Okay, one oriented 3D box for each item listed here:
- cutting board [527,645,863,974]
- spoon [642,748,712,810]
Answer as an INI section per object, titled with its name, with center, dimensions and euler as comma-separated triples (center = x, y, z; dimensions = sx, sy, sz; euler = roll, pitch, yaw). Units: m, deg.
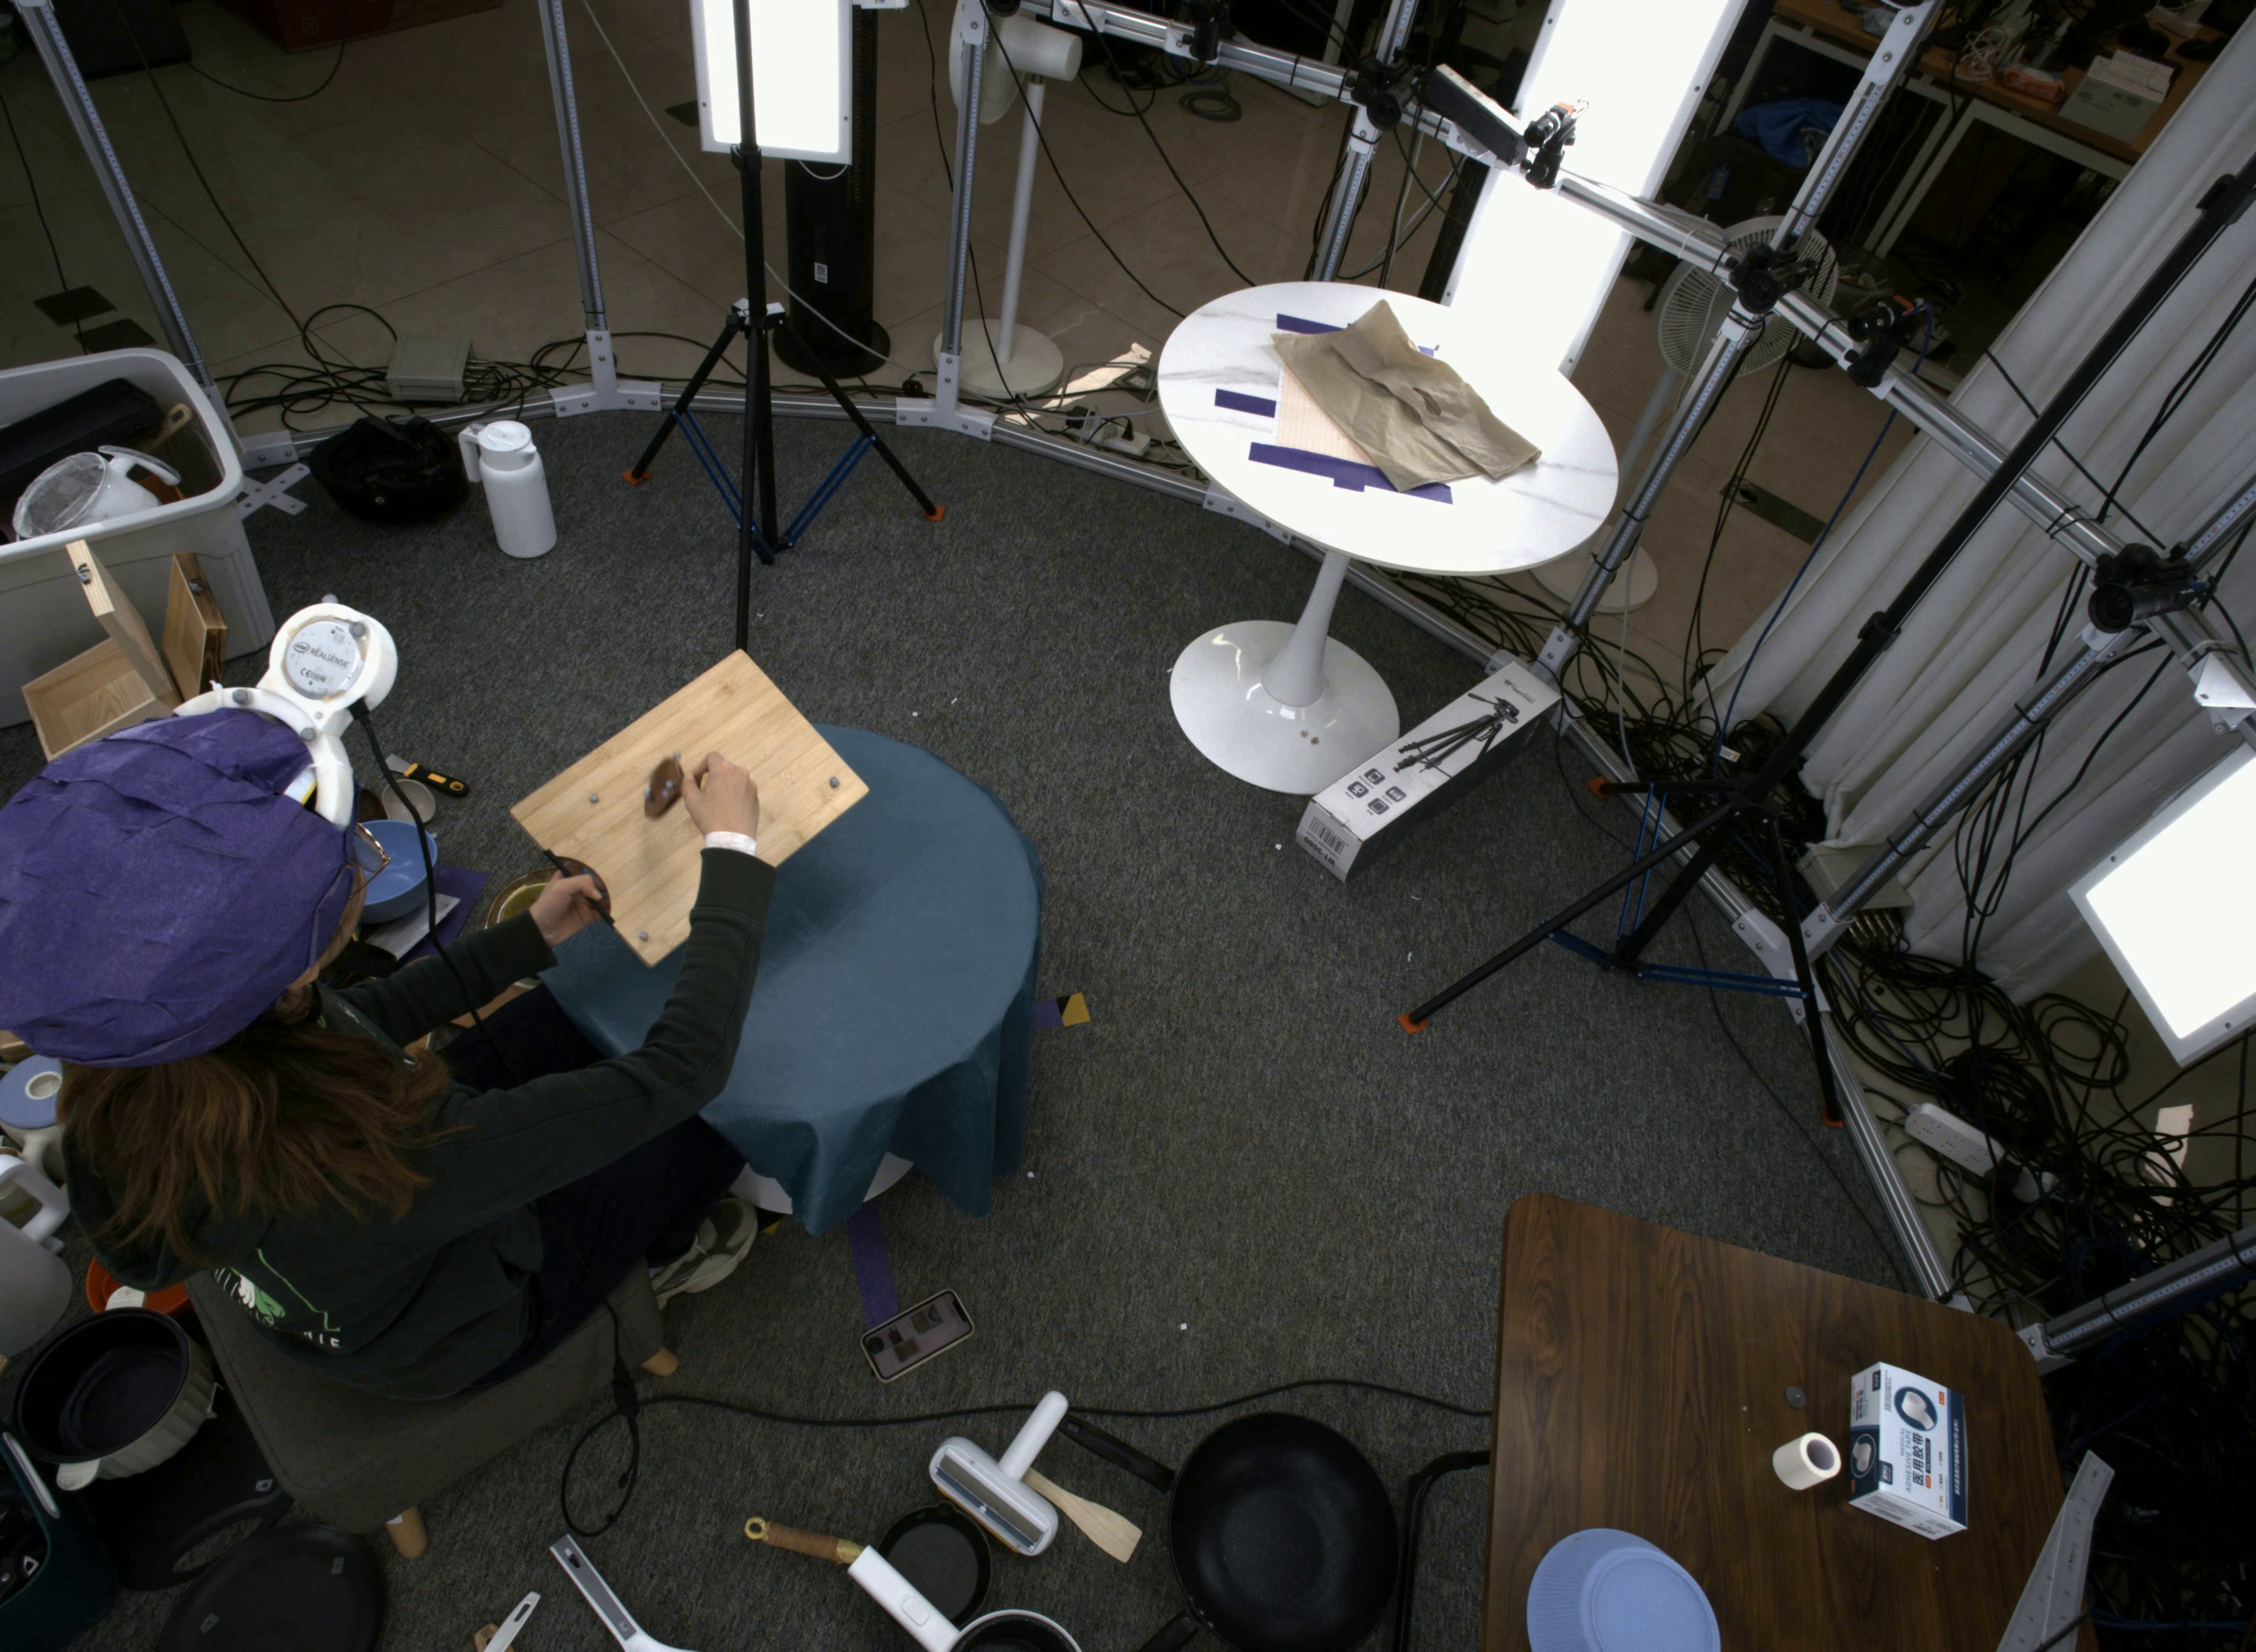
[cutting board]
center = -0.518, -0.028, 1.524
dimensions = 0.252, 0.023, 0.348
euler = 47, 61, -3
[spoon]
center = -0.486, -0.053, 1.389
dimensions = 0.018, 0.209, 0.075
euler = 25, 76, -33
